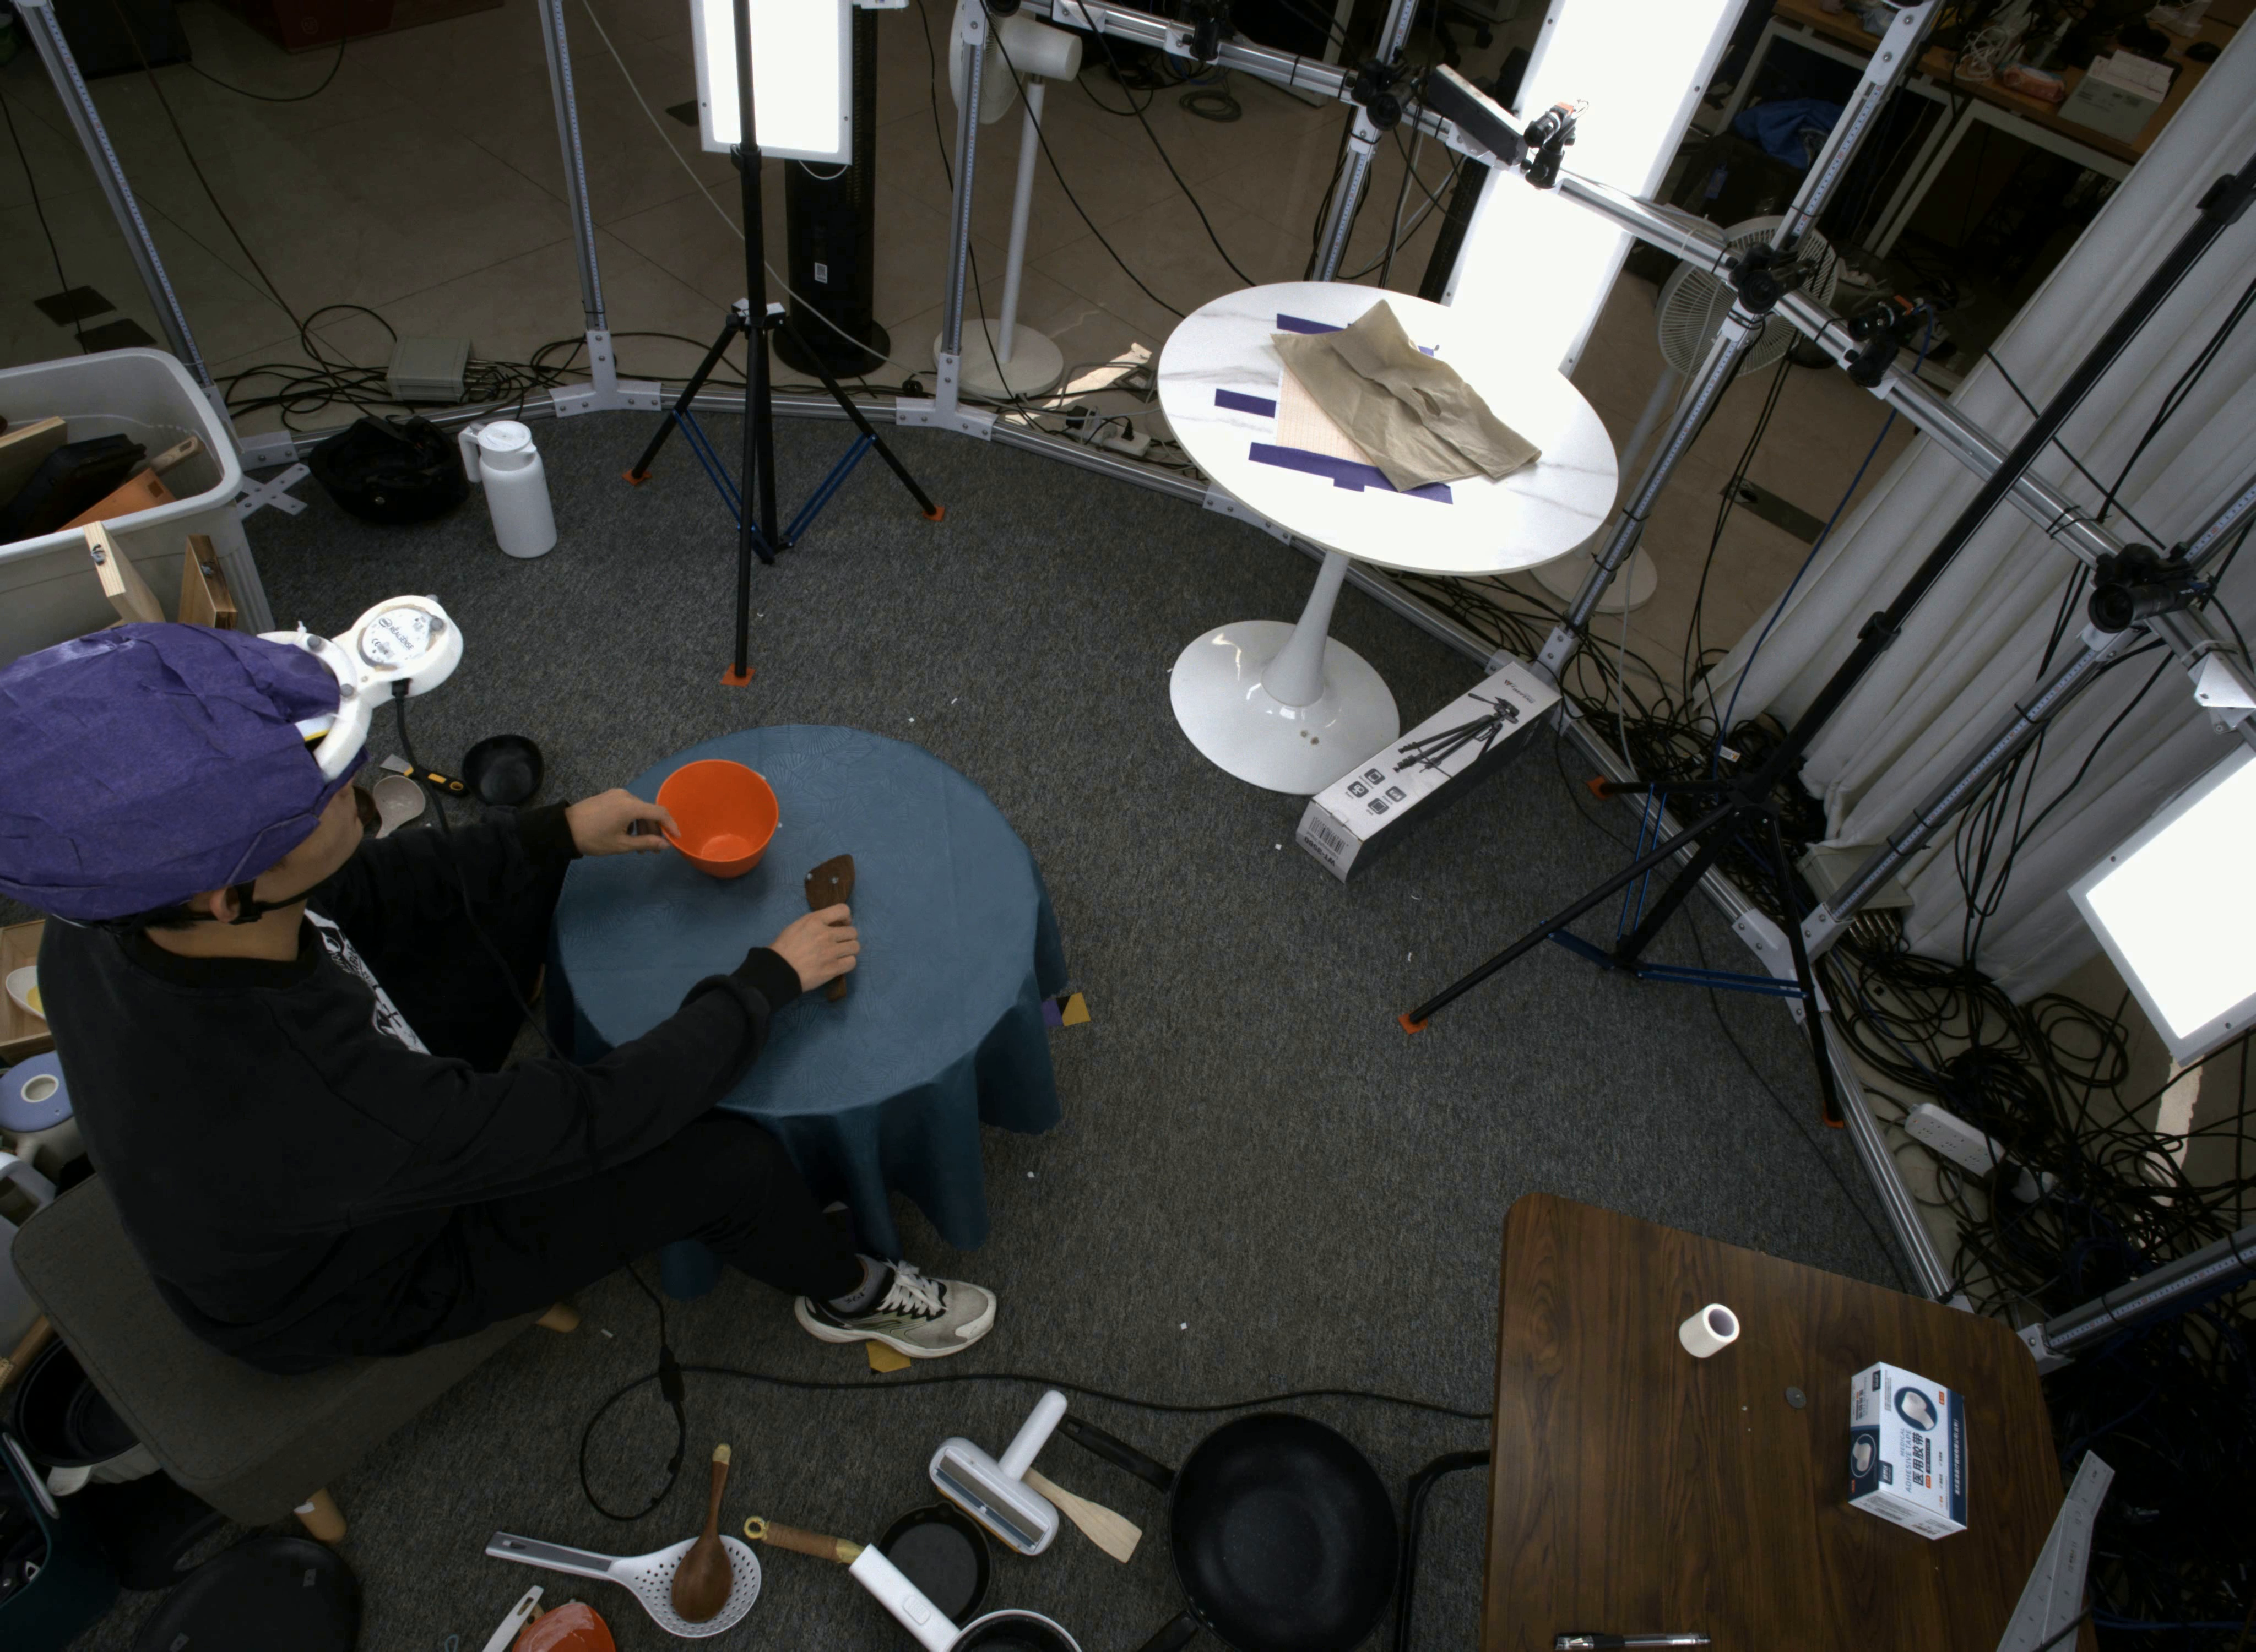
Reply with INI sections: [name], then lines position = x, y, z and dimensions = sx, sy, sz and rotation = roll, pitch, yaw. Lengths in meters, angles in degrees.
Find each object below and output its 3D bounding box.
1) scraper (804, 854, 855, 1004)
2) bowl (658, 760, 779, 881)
[scraper]
position = -0.367, 0.127, 1.618
dimensions = 0.075, 0.011, 0.206
rotation = -23, 53, 12
[bowl]
position = -0.516, 0.004, 1.637
dimensions = 0.148, 0.107, 0.145
rotation = 8, 51, -8
